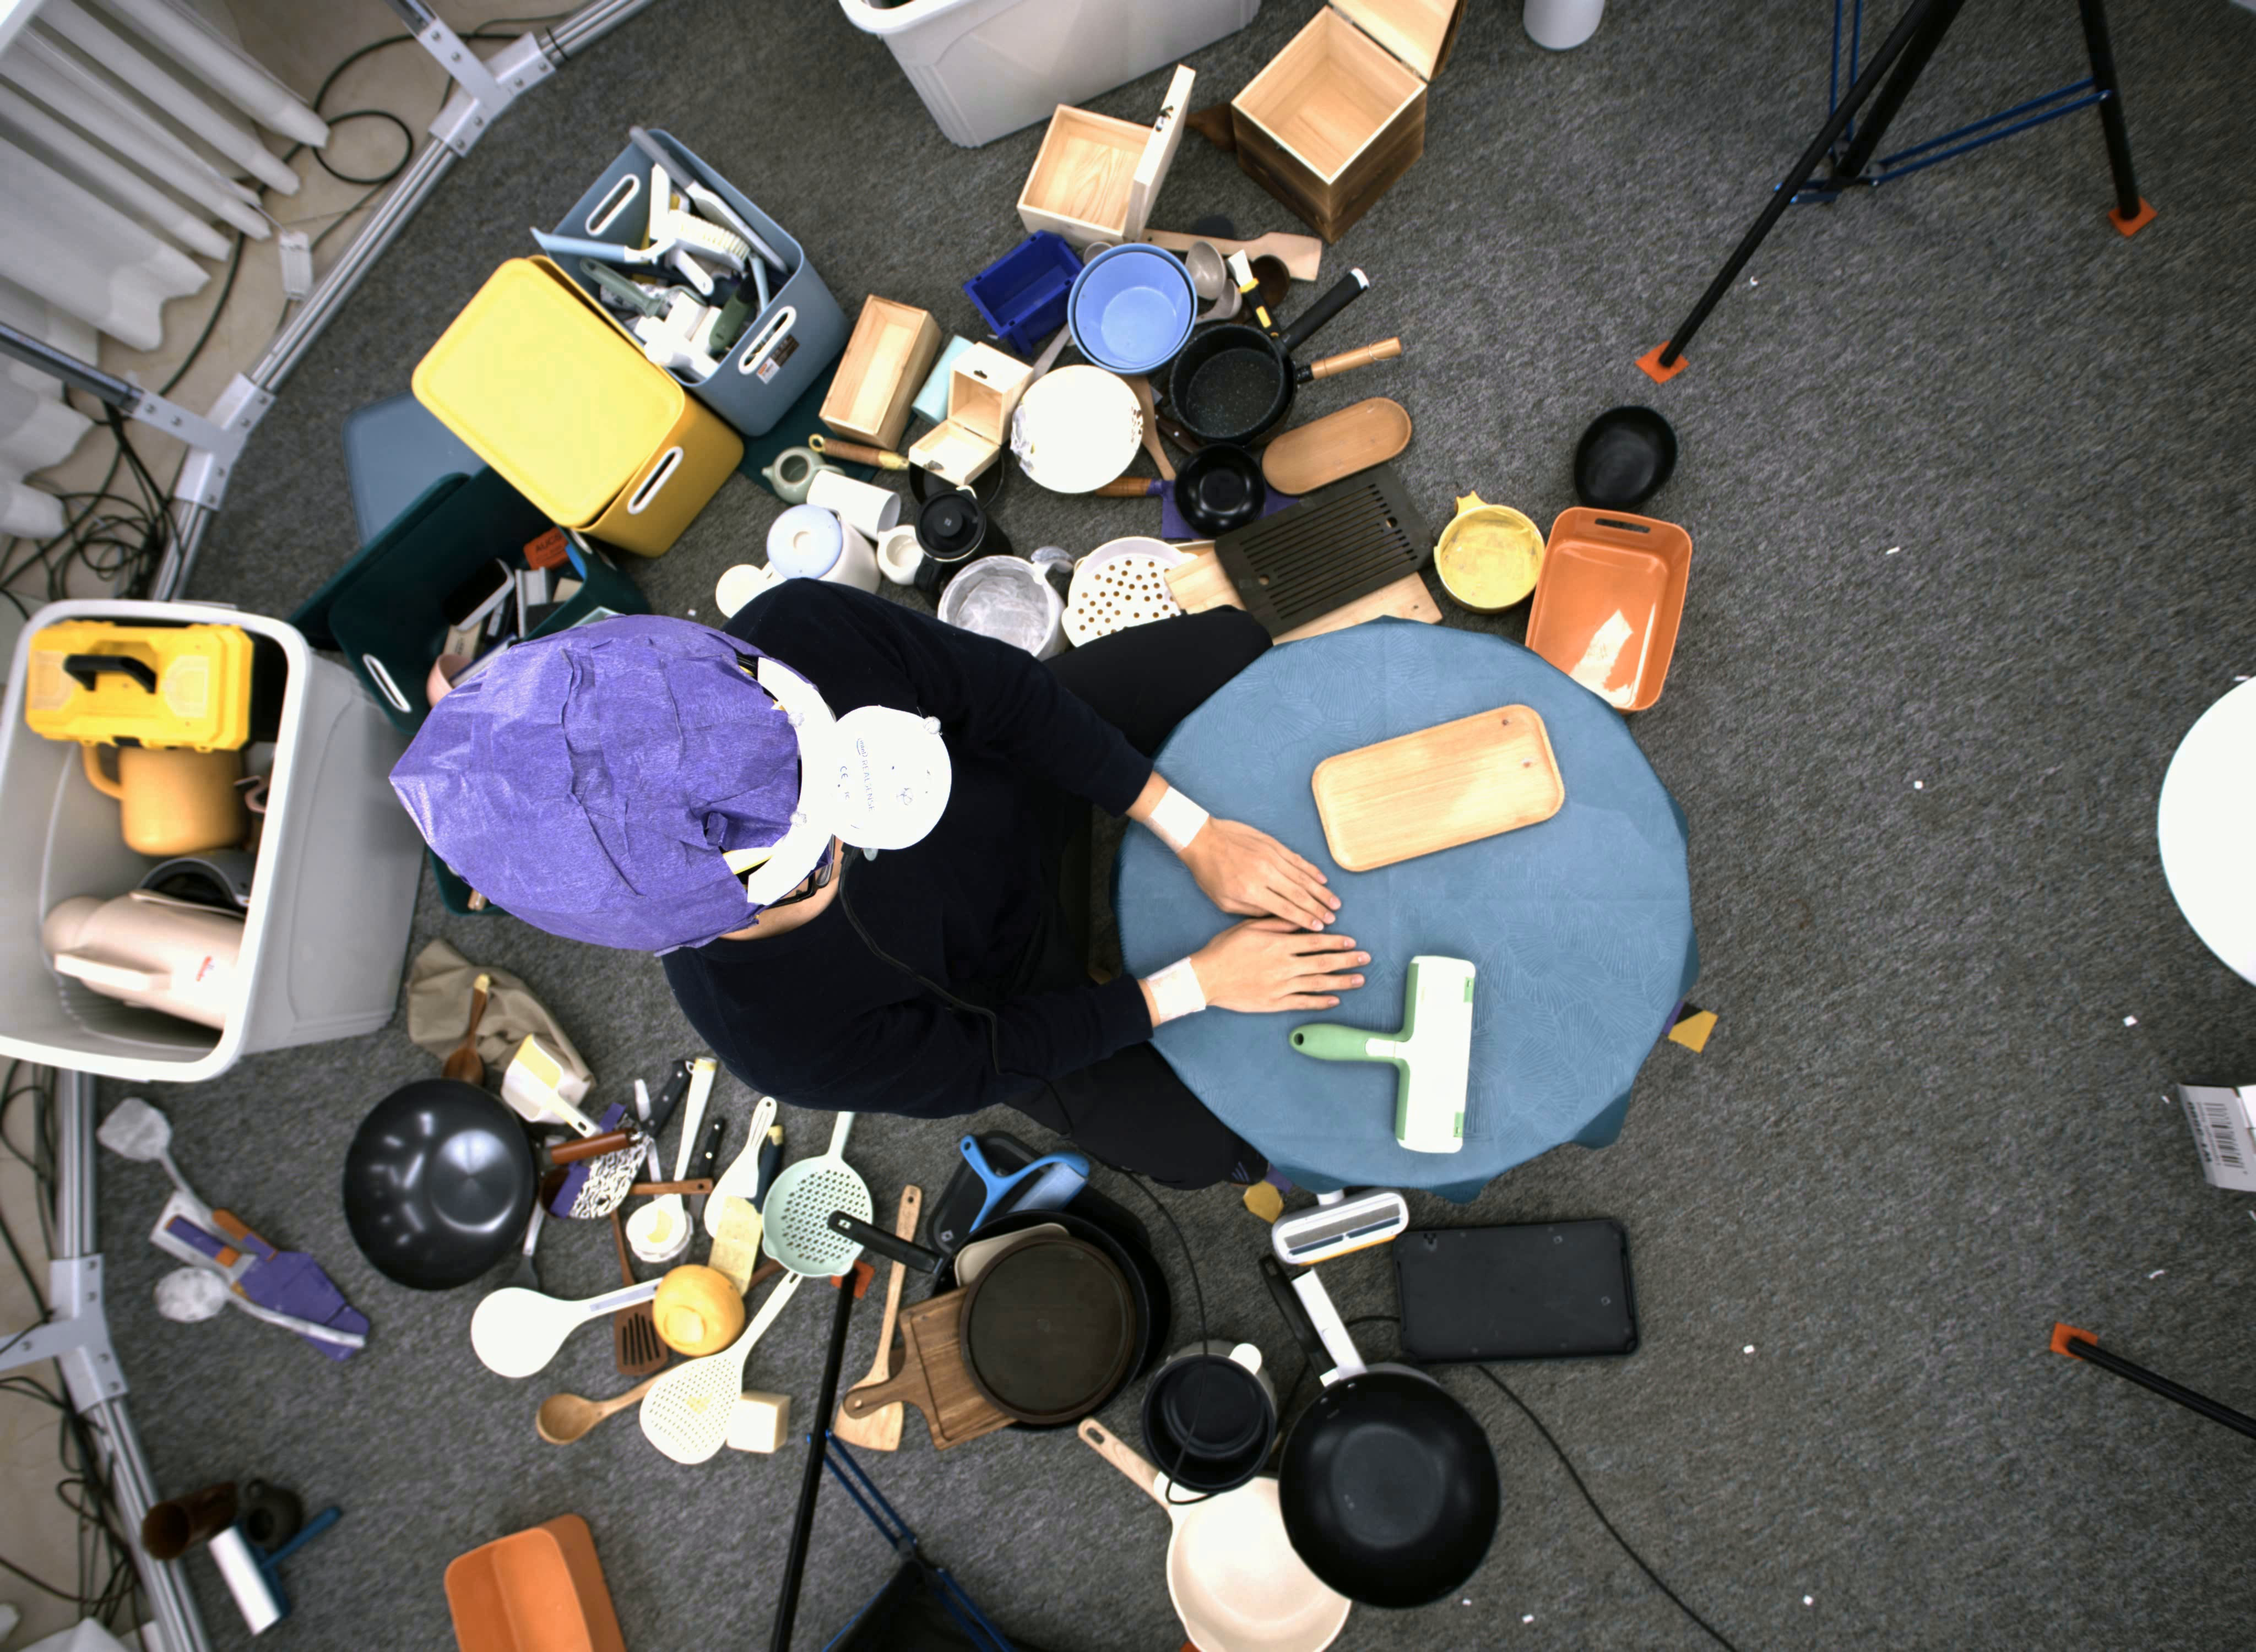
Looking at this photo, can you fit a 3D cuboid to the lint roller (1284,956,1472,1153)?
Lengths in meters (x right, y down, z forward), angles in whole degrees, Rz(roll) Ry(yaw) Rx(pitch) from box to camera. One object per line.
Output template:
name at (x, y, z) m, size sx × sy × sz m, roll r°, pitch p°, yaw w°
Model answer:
lint roller at (0.252, 0.225, 1.410) m, size 0.184 × 0.082 × 0.198 m, roll 4°, pitch 86°, yaw 5°

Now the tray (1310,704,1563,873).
tray at (0.323, -0.040, 1.448) m, size 0.252 × 0.023 × 0.129 m, roll -16°, pitch 82°, yaw 10°
